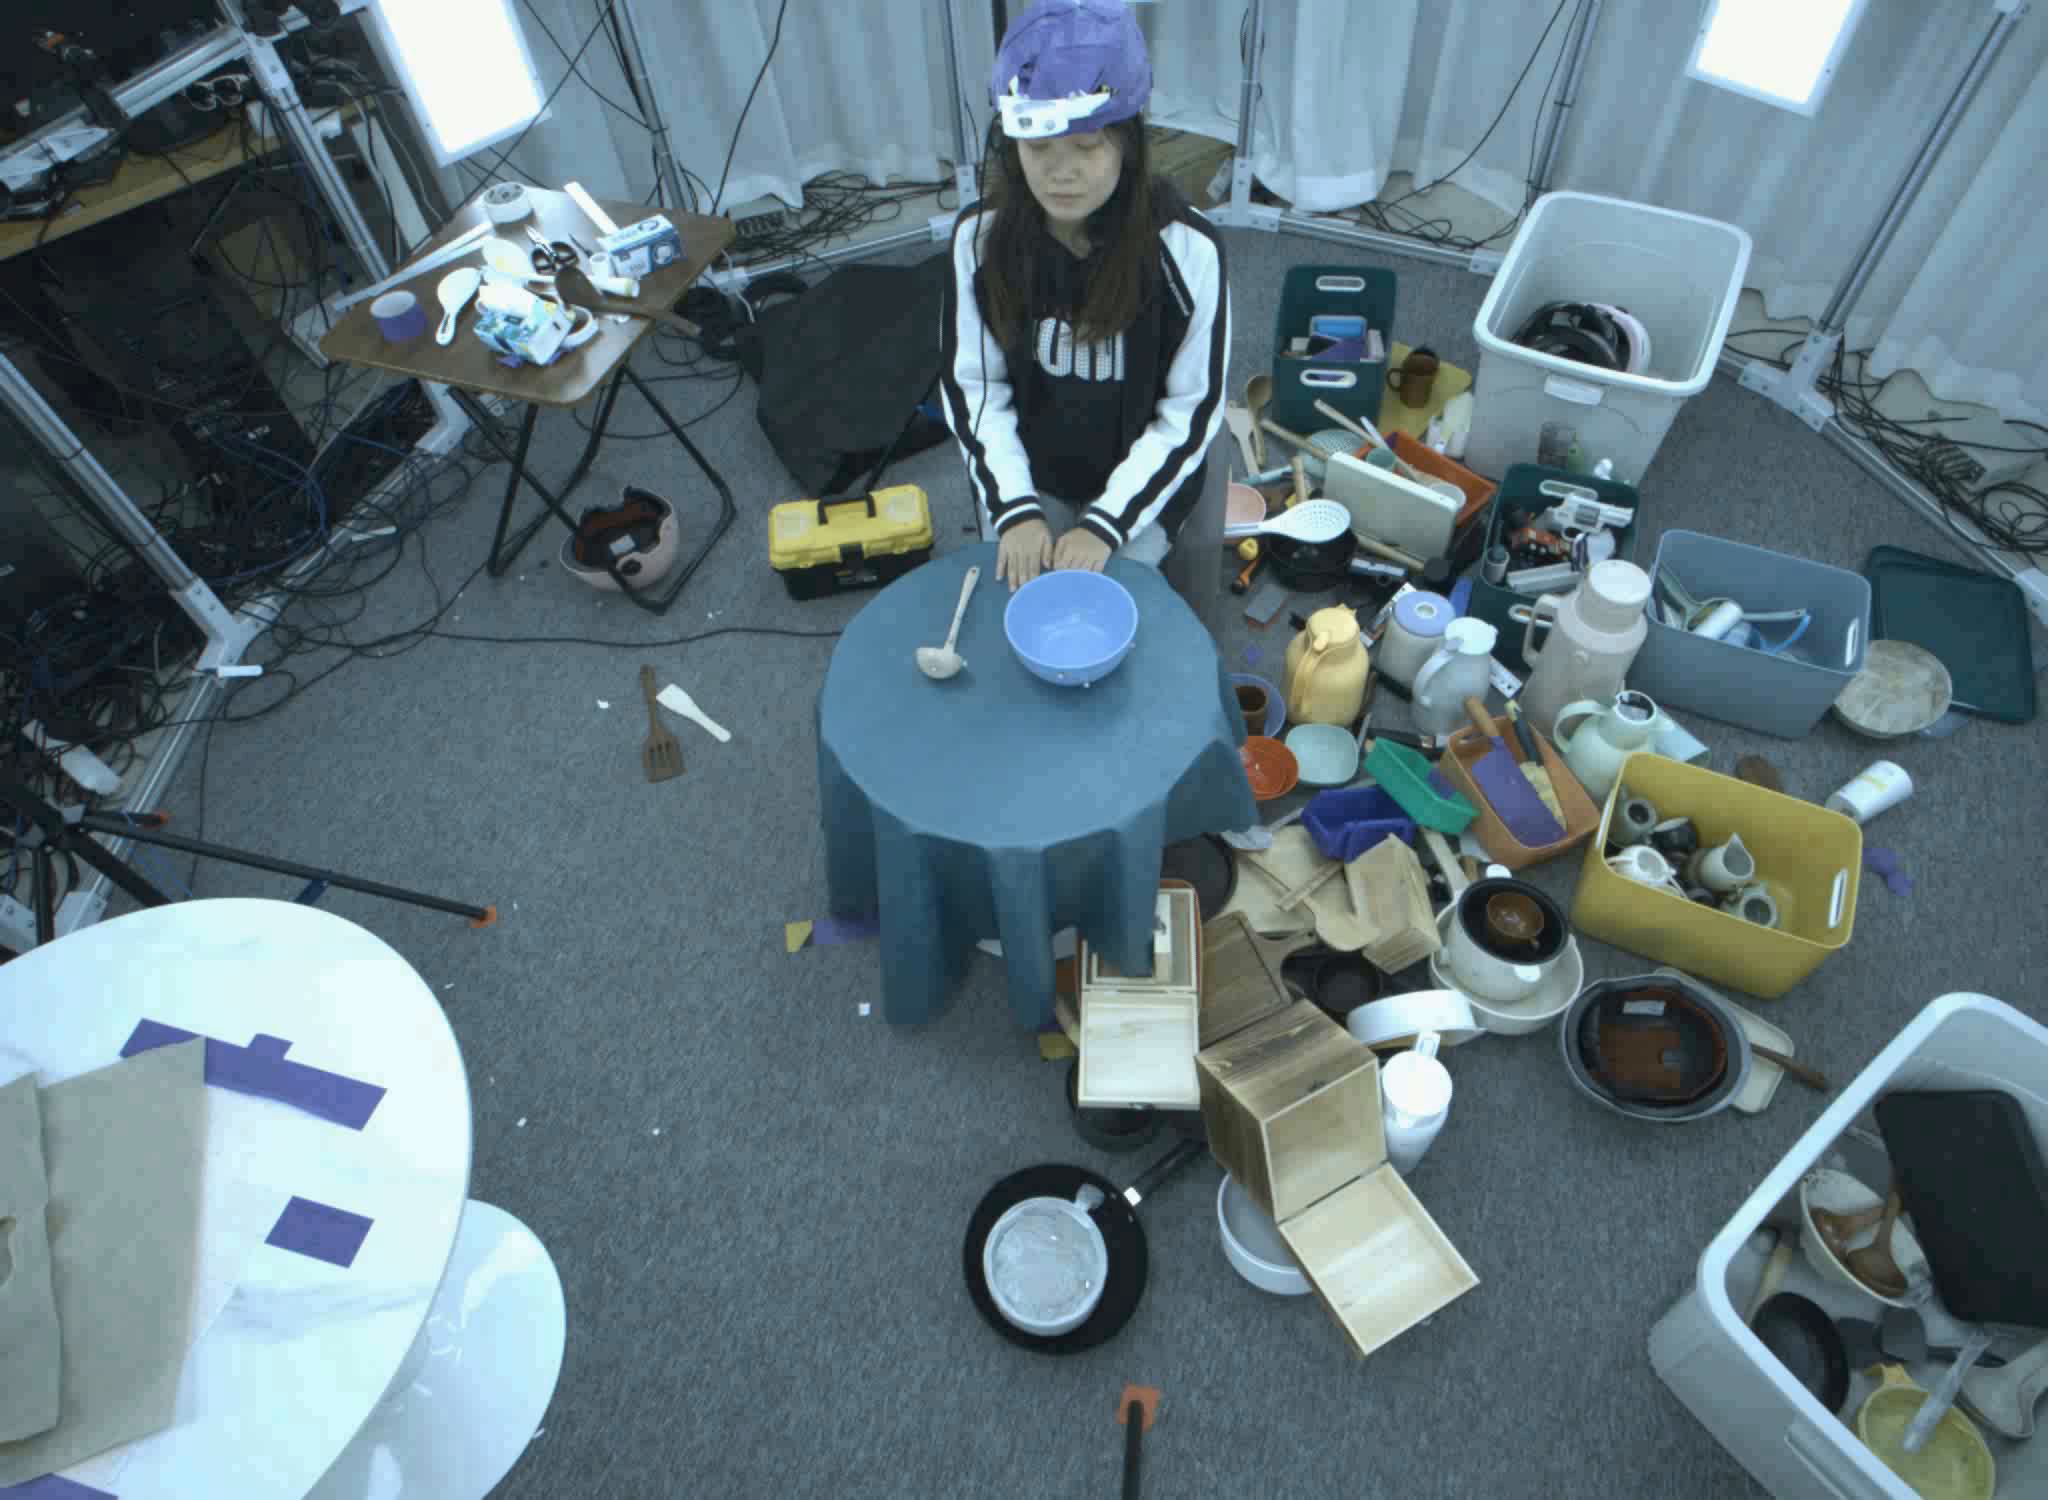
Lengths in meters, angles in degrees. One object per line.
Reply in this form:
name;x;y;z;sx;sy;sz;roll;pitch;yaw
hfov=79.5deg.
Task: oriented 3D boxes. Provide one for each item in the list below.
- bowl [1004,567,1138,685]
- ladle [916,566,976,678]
bowl;0.071;-0.171;1.846;0.196;0.096;0.194;0;57;2
ladle;-0.110;-0.220;1.902;0.072;0.073;0.253;7;55;7
